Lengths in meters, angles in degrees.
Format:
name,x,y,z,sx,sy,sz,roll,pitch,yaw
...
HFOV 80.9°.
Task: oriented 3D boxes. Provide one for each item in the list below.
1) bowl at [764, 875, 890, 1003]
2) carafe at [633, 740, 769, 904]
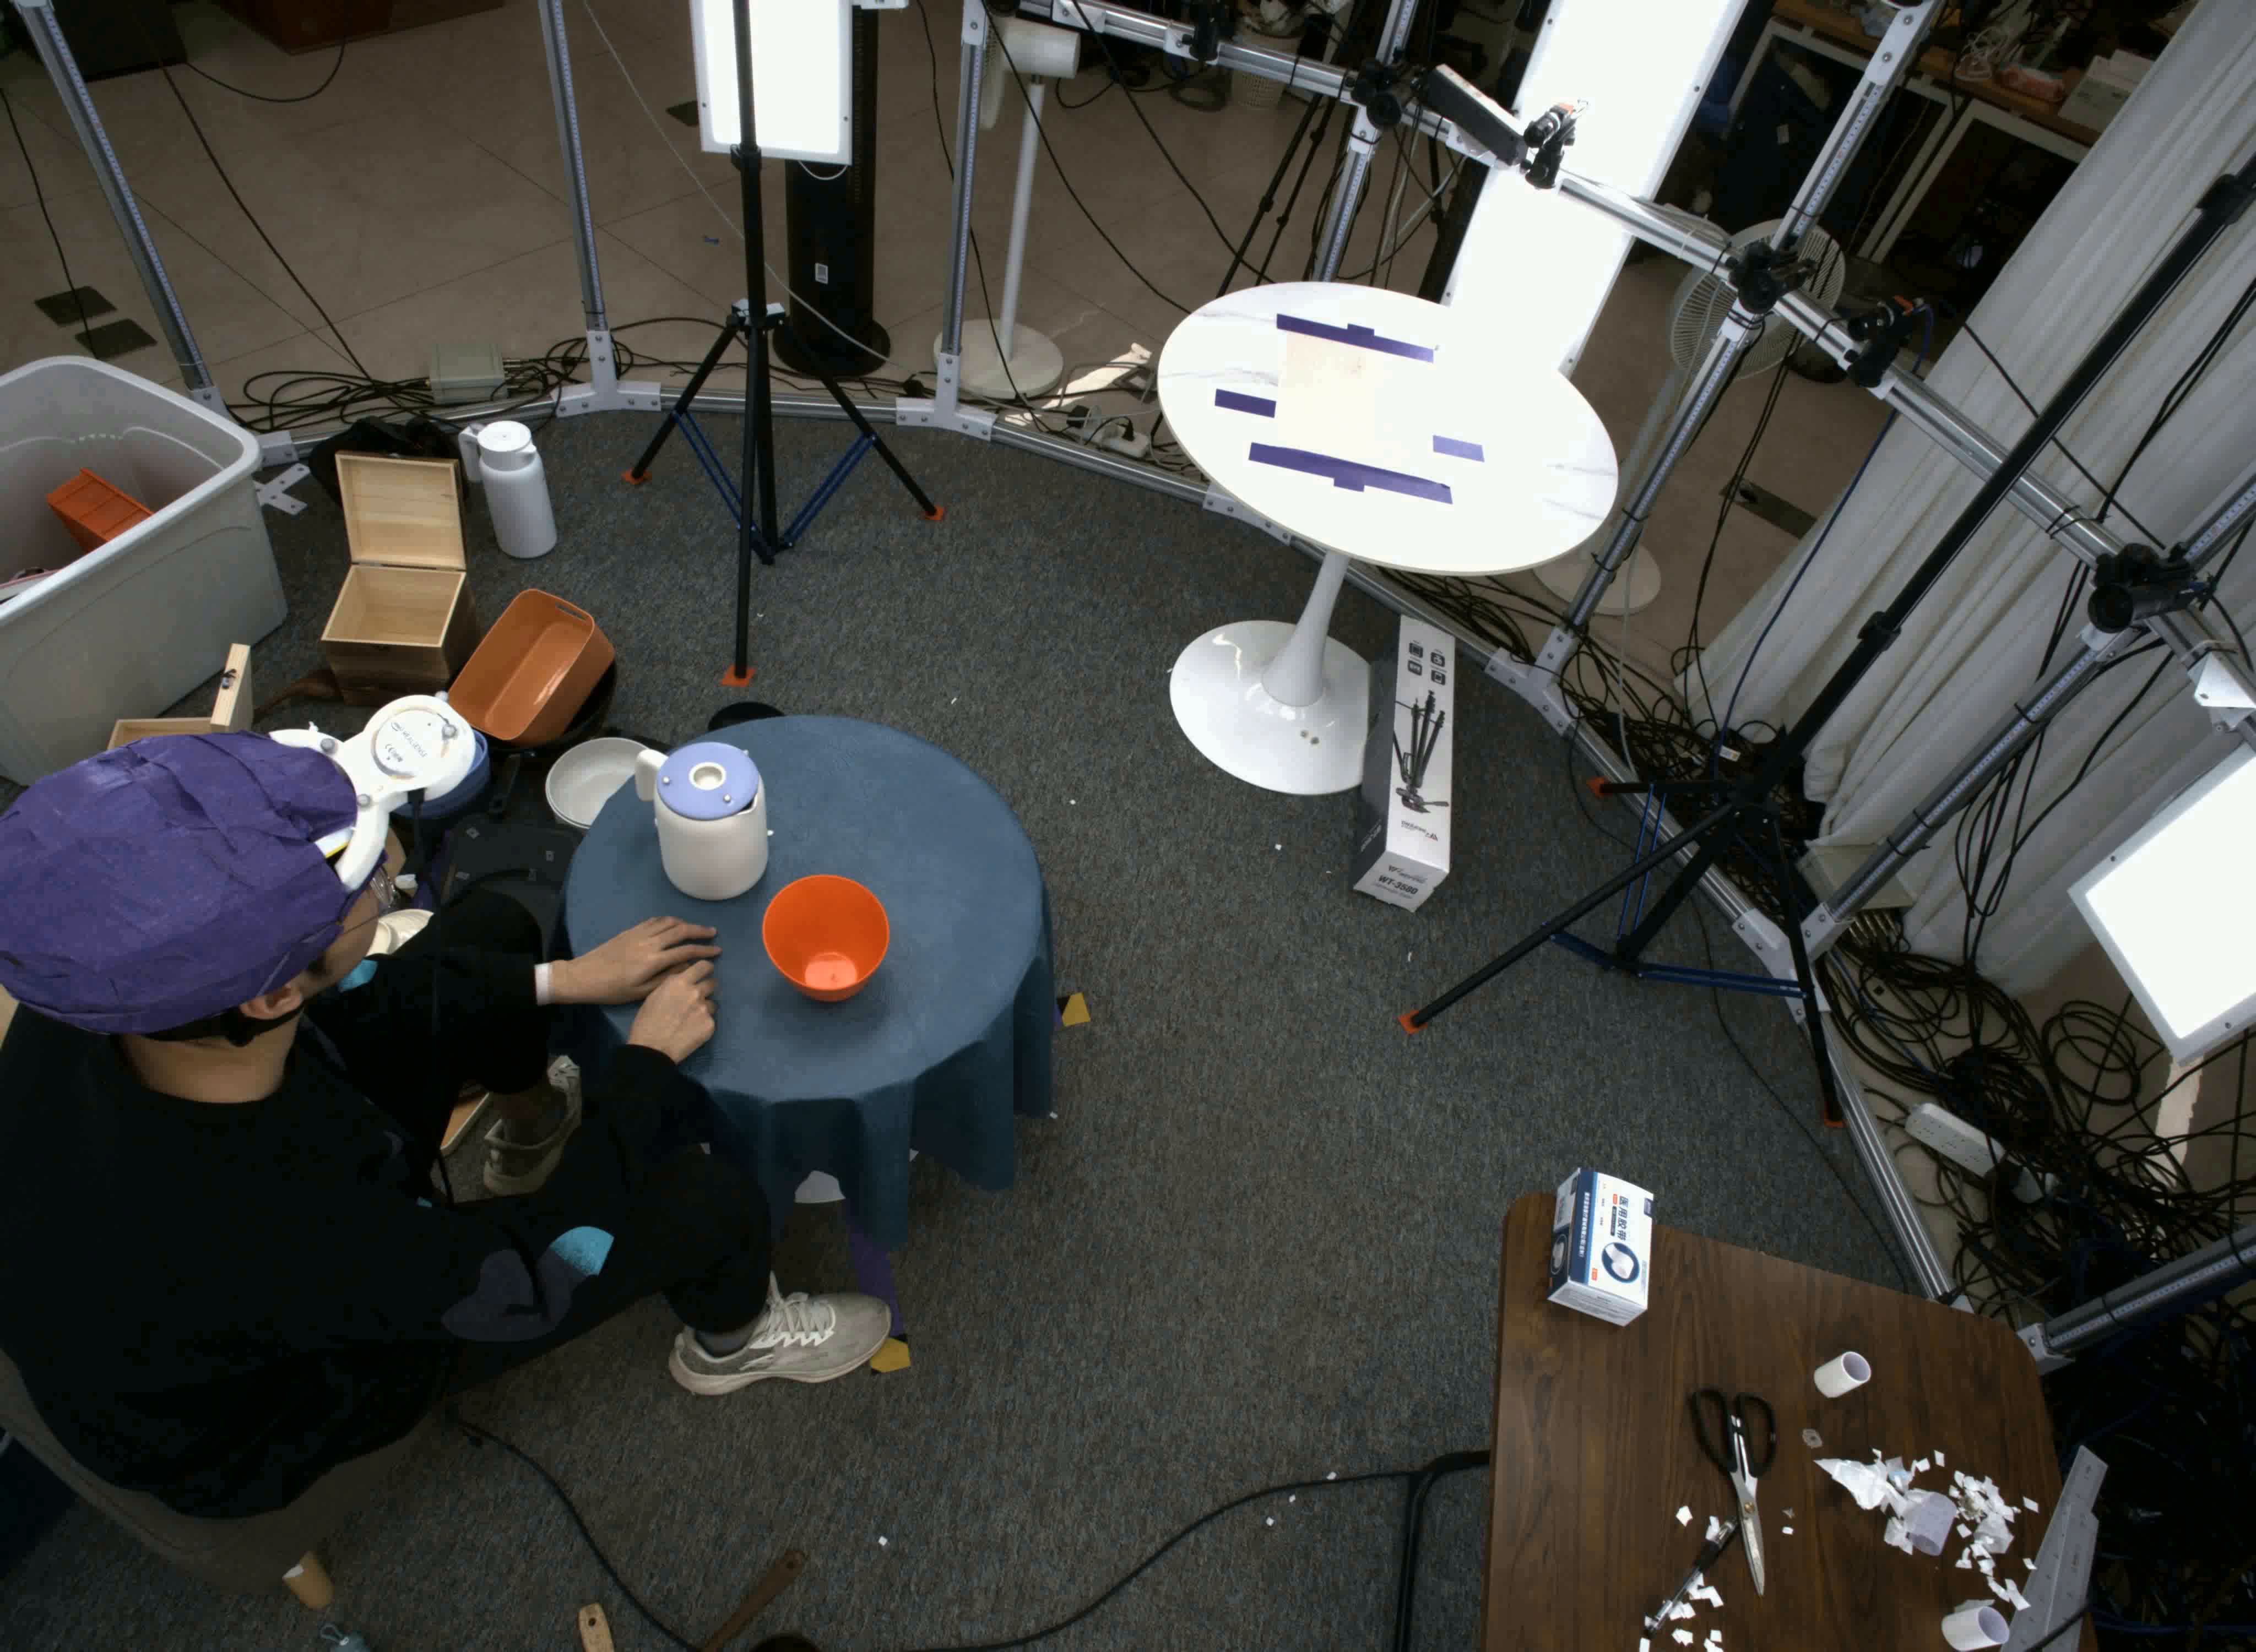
name,x,y,z,sx,sy,sz,roll,pitch,yaw
bowl,-0.363,0.148,1.573,0.148,0.107,0.145,7,52,-8
carafe,-0.538,-0.017,1.602,0.188,0.187,0.131,26,50,10
